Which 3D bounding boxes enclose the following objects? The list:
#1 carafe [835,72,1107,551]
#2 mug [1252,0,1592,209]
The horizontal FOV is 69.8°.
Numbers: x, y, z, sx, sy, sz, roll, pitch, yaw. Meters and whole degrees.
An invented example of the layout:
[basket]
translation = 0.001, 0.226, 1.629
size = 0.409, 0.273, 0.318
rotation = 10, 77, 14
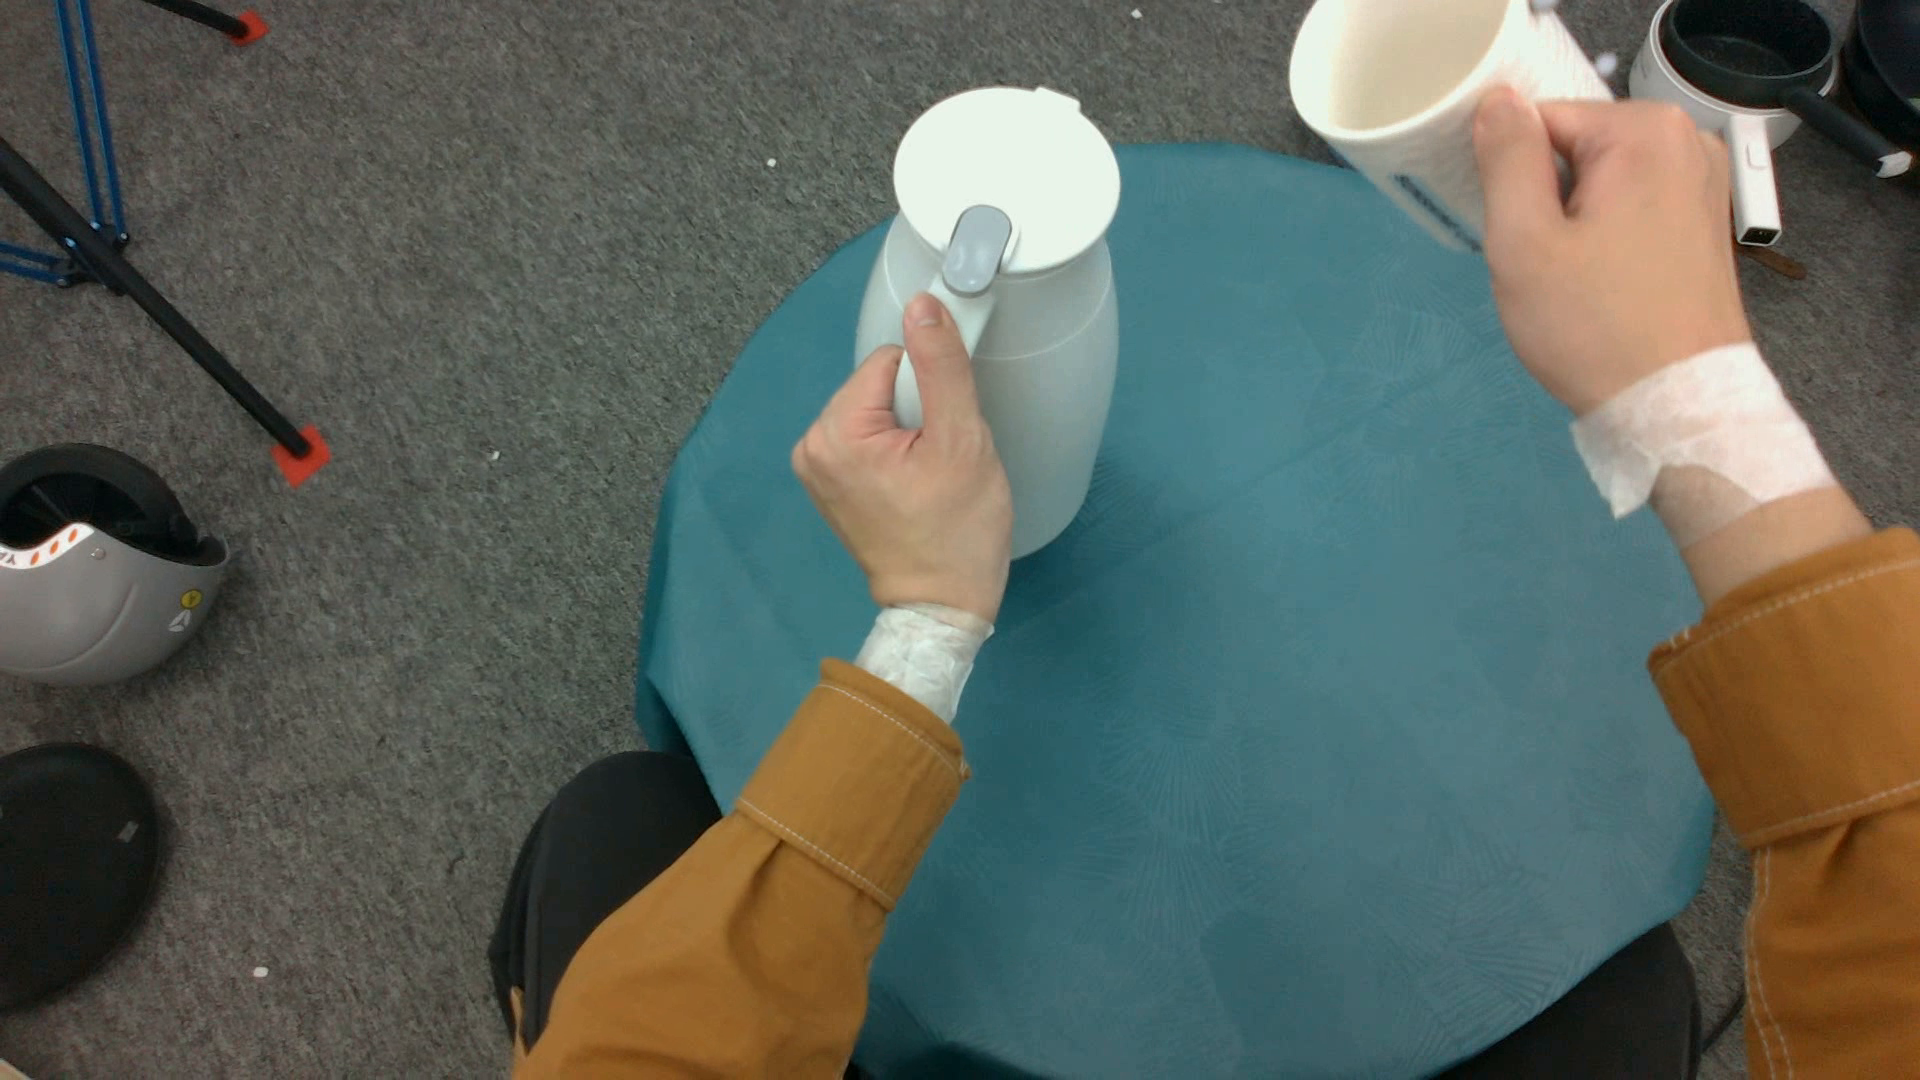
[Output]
[carafe]
translation = 0.000, -0.088, 0.650
size = 0.132, 0.247, 0.168
rotation = 21, 66, 5
[mug]
translation = 0.179, -0.169, 0.501
size = 0.084, 0.102, 0.118
rotation = -50, 45, 25
